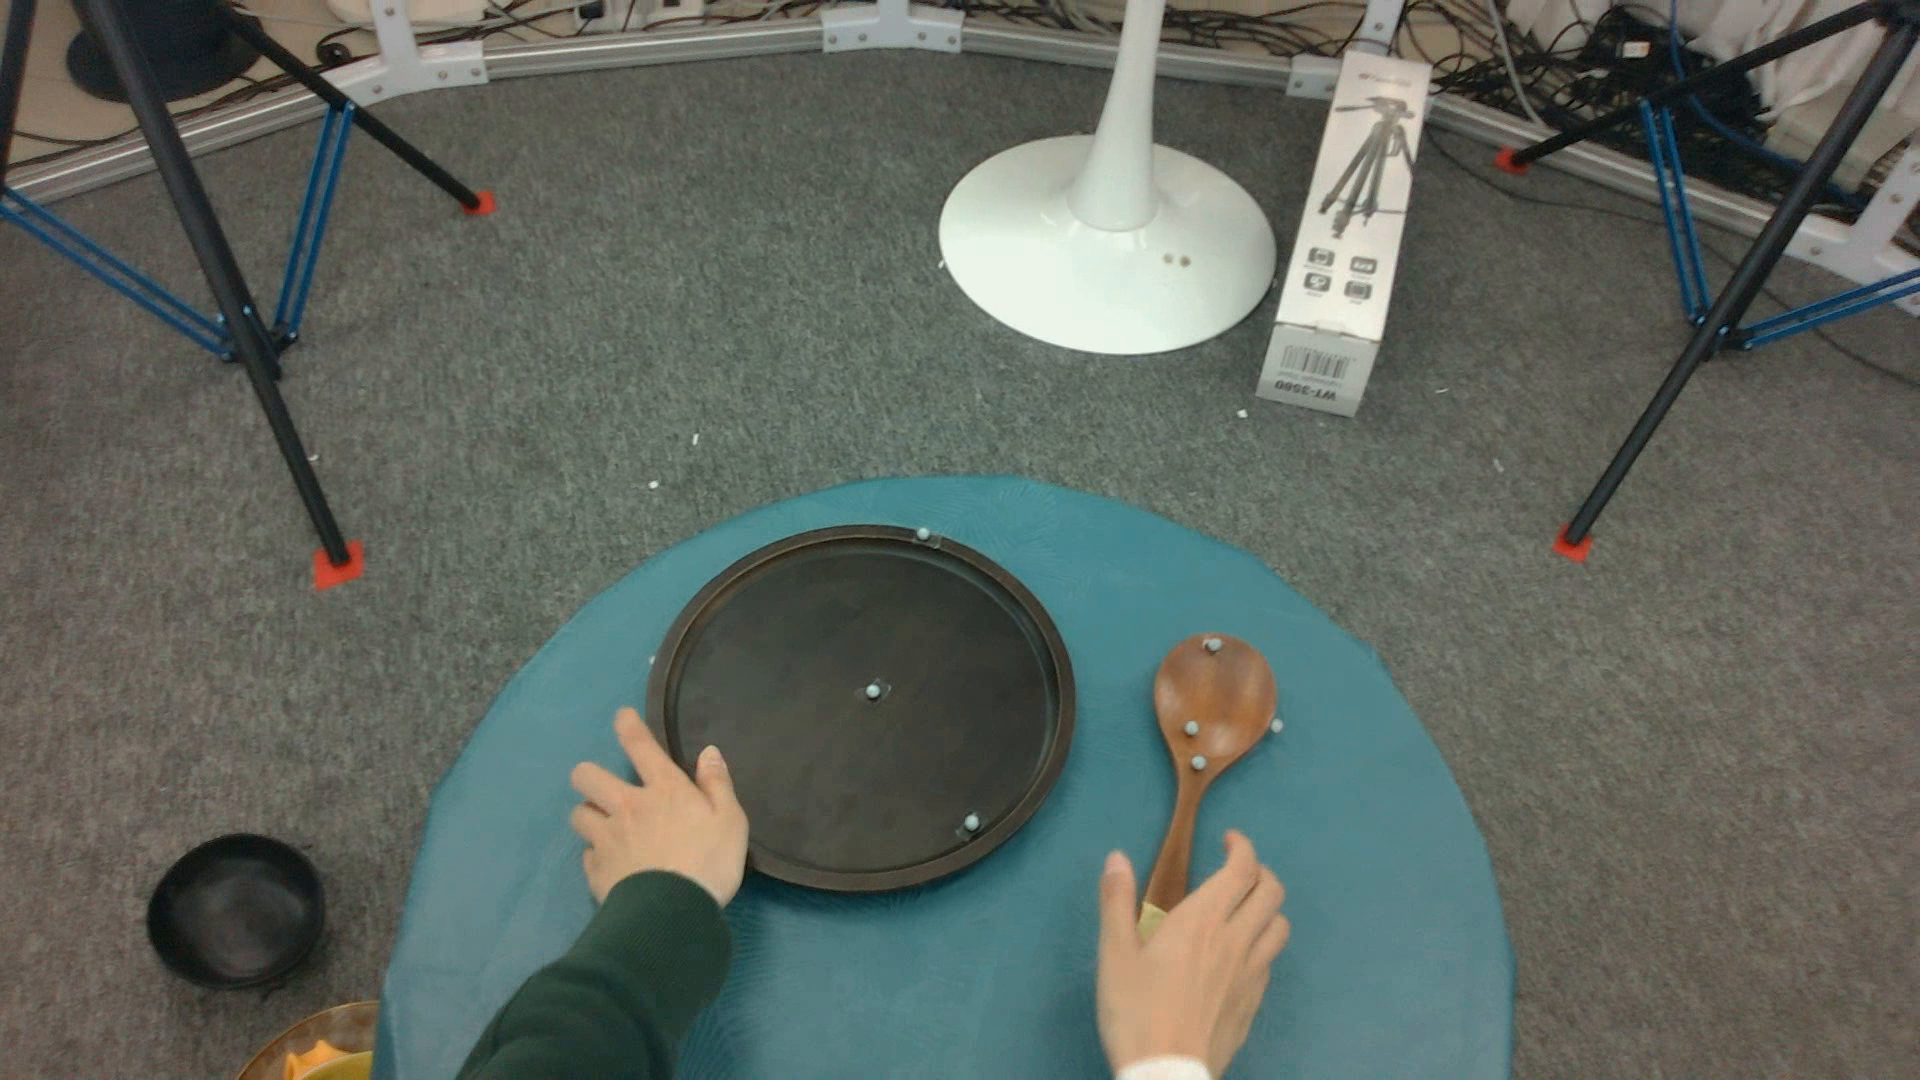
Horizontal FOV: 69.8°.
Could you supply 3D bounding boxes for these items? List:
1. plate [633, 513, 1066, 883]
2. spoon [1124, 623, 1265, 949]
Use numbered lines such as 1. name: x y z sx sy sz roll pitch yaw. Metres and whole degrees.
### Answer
1. plate: -0.064 0.087 0.814 0.255 0.029 0.256 2 49 -2
2. spoon: 0.128 0.136 0.794 0.075 0.017 0.217 16 51 8
